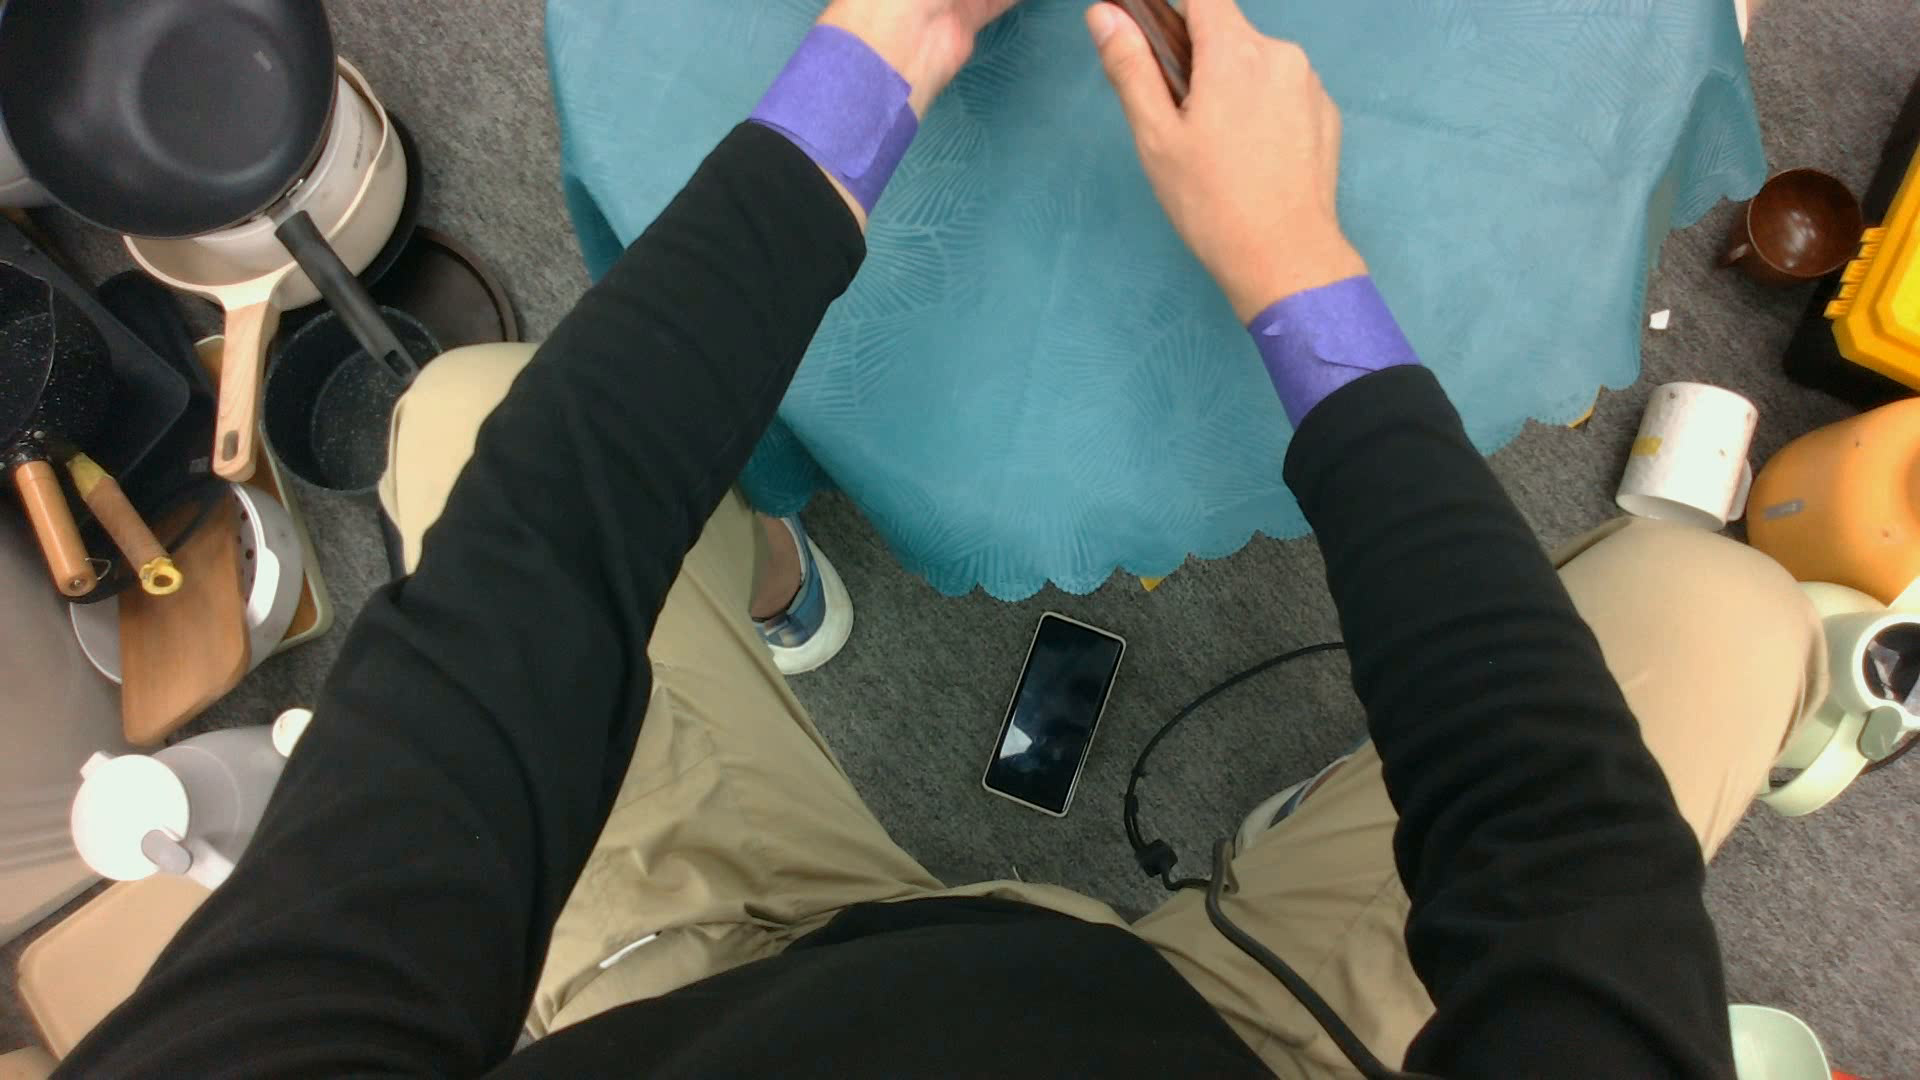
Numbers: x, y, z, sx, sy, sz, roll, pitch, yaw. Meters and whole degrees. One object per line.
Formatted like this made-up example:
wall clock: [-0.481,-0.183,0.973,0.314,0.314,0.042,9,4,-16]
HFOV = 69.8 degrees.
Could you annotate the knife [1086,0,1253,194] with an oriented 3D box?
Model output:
knife: [0.049,-0.279,0.603,0.050,0.020,0.289,-43,105,-35]
